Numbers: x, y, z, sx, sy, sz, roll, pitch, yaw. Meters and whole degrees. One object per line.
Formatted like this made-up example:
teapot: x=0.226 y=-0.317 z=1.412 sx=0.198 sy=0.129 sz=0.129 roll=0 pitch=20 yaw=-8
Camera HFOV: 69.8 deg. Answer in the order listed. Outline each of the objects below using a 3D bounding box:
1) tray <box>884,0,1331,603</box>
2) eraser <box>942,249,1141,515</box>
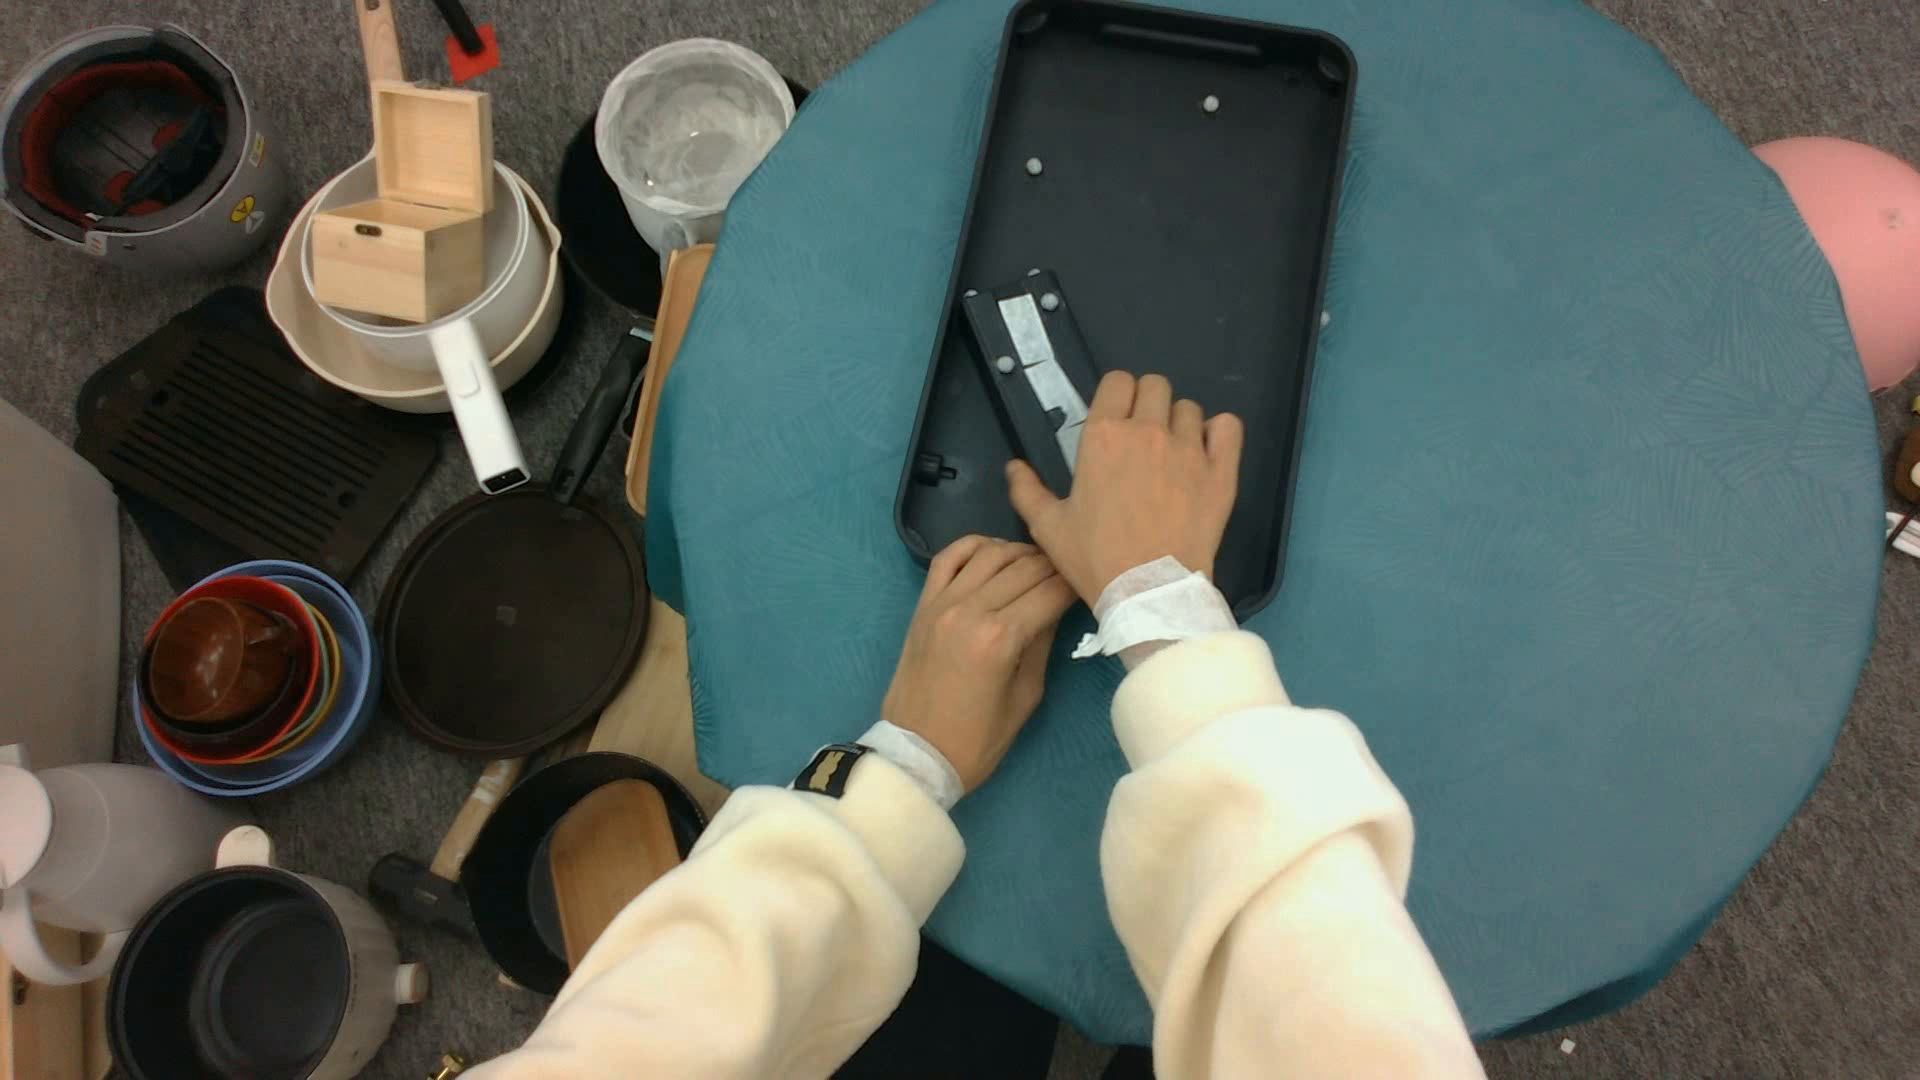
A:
tray: x=0.079 y=-0.132 z=0.692 sx=0.184 sy=0.037 sz=0.319 roll=9 pitch=73 yaw=4
eraser: x=0.039 y=-0.078 z=0.676 sx=0.053 sy=0.030 sz=0.126 roll=-24 pitch=74 yaw=-1
